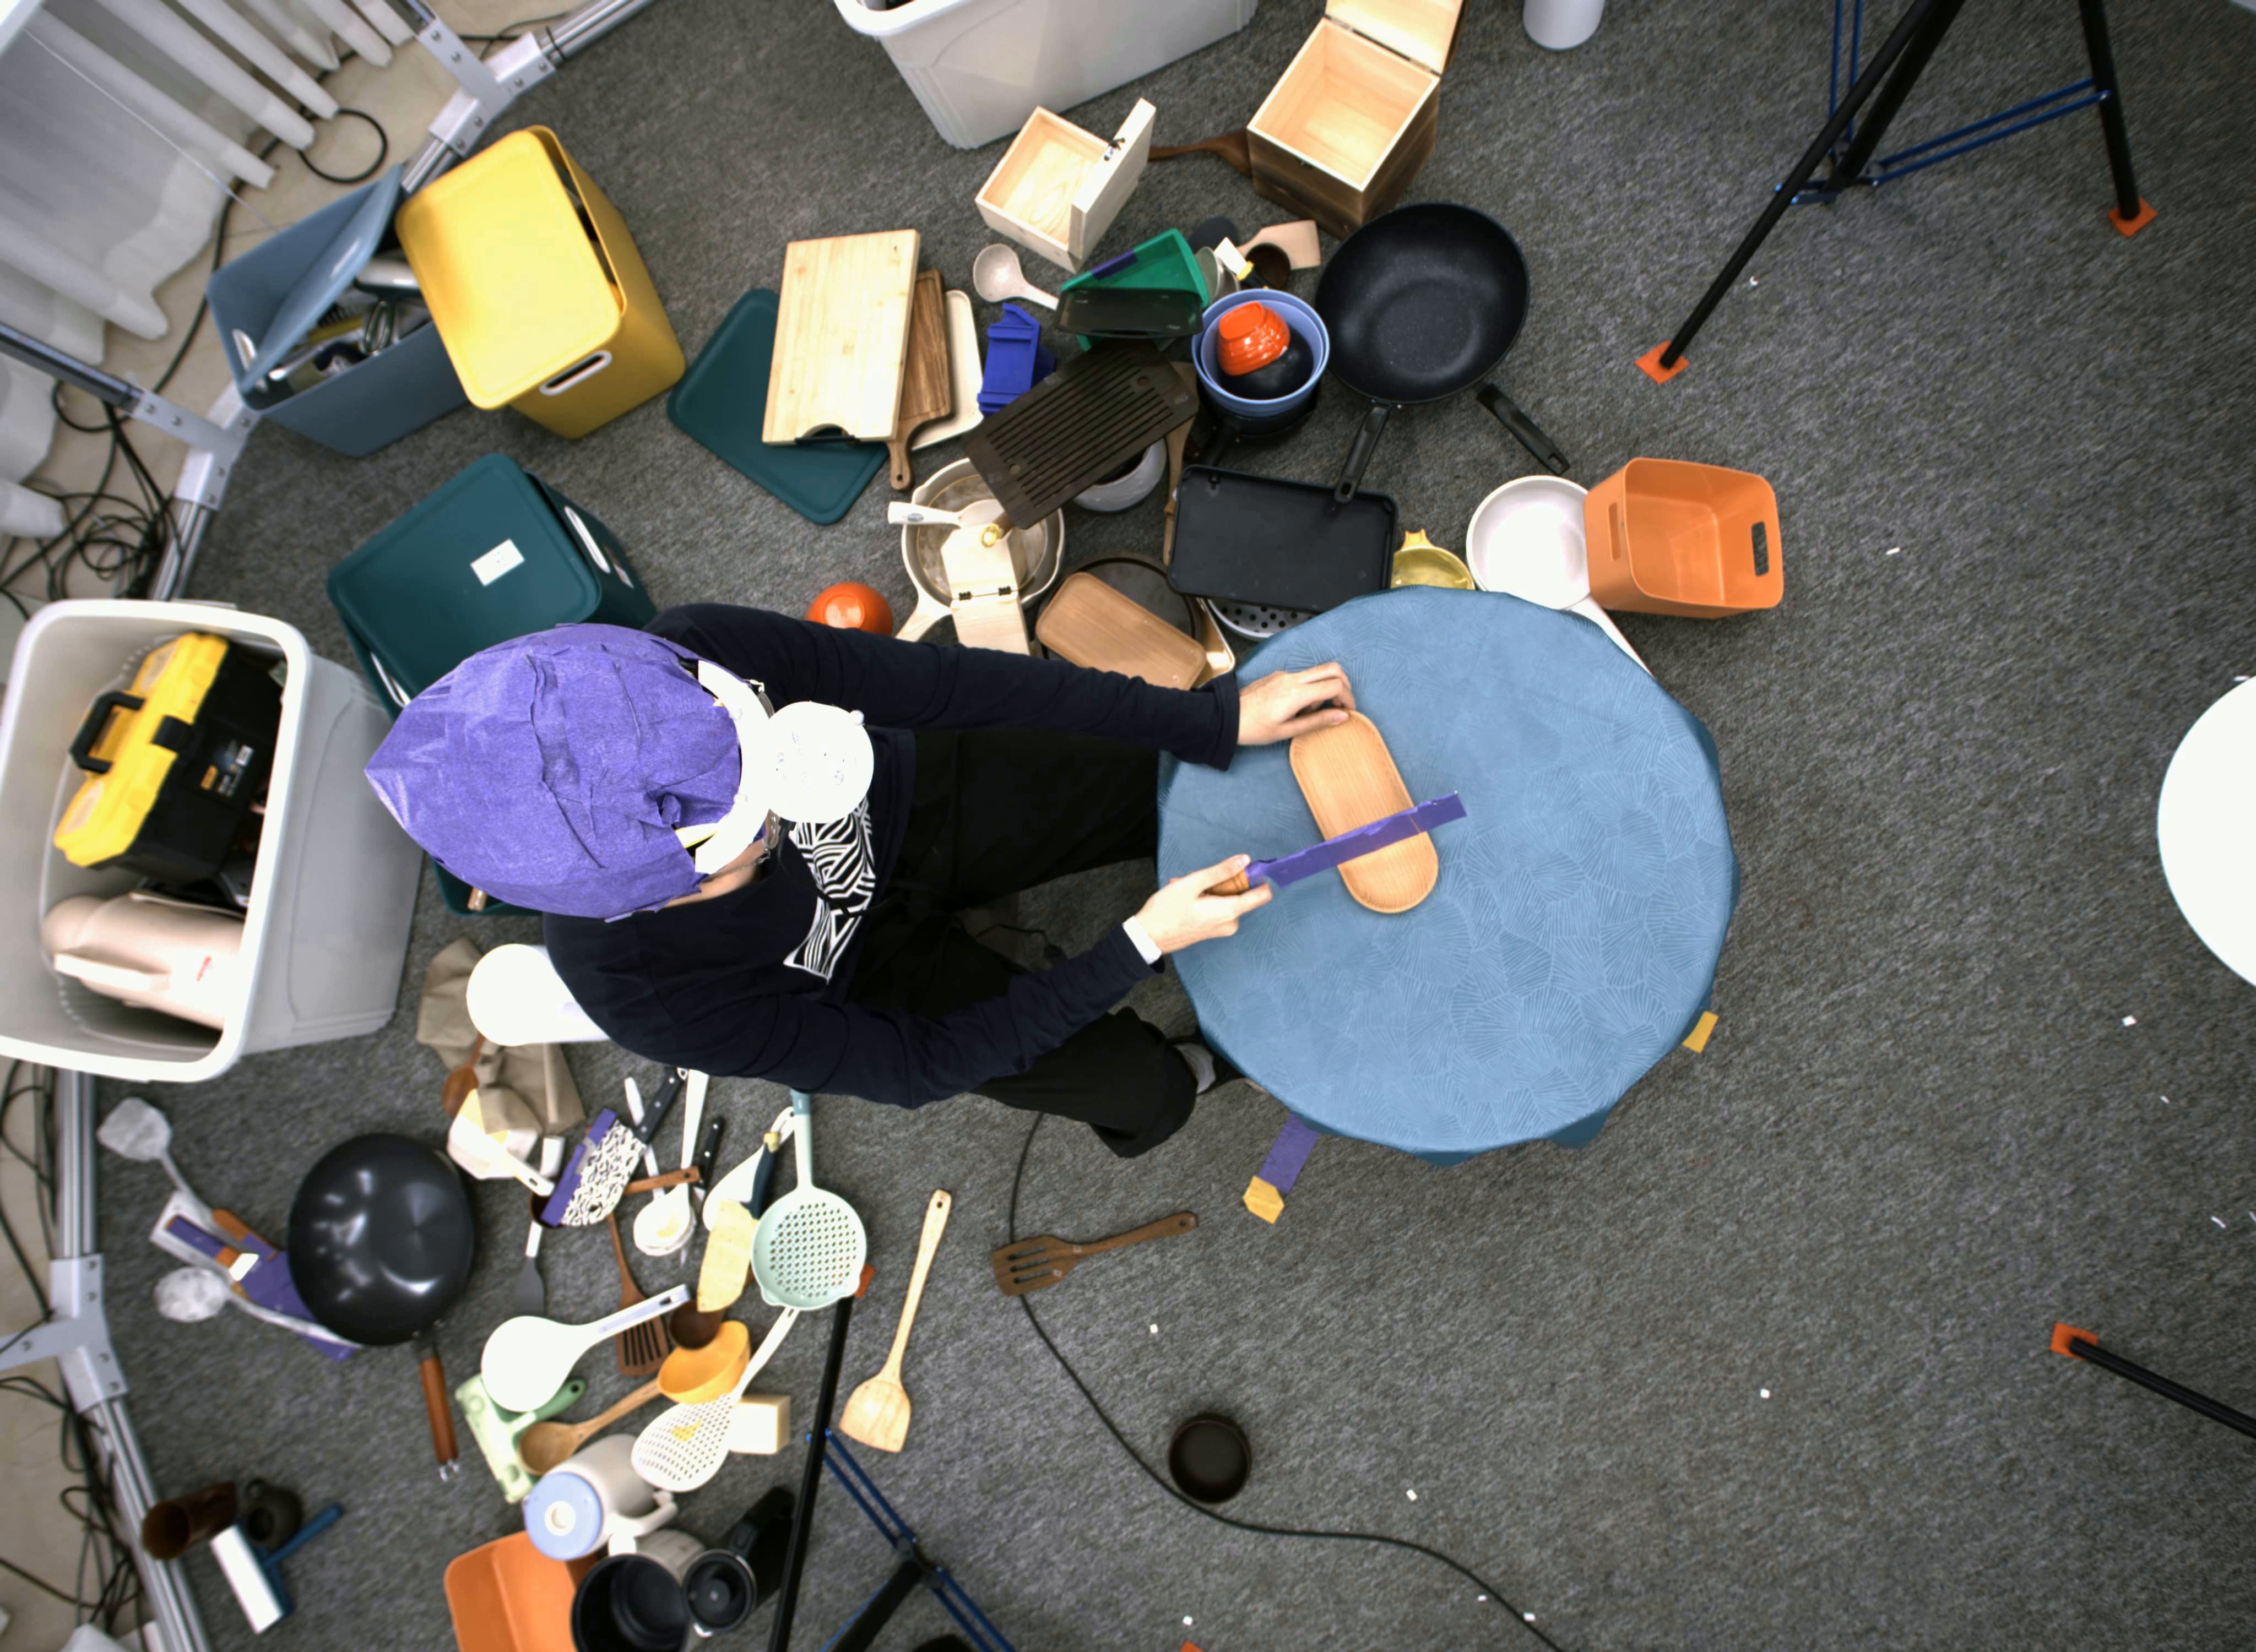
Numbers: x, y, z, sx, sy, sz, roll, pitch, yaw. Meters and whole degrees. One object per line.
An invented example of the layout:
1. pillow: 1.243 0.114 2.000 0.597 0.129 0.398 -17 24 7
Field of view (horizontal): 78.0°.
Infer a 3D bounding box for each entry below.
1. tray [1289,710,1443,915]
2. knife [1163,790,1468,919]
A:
1. tray: 0.251 -0.016 1.461 0.102 0.020 0.230 -27 84 9
2. knife: 0.193 0.035 1.401 0.318 0.104 0.031 -21 68 16
